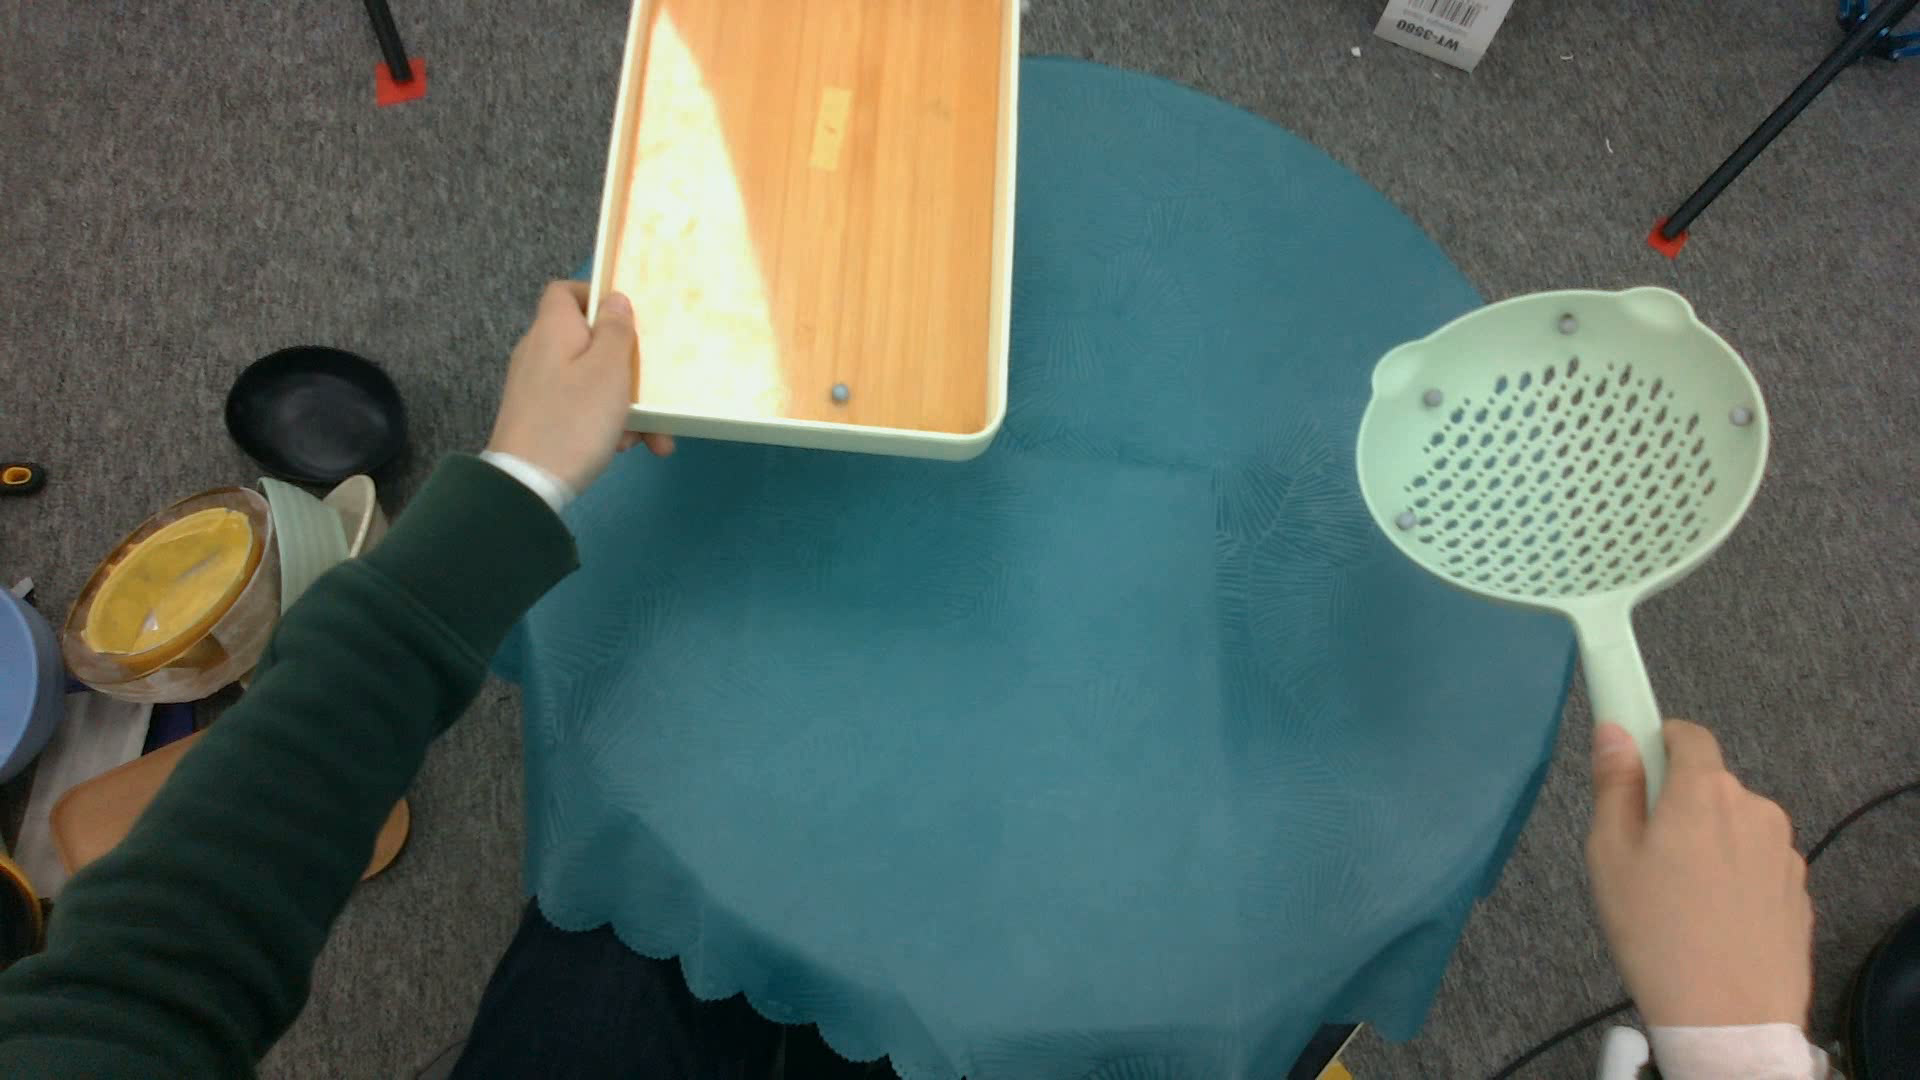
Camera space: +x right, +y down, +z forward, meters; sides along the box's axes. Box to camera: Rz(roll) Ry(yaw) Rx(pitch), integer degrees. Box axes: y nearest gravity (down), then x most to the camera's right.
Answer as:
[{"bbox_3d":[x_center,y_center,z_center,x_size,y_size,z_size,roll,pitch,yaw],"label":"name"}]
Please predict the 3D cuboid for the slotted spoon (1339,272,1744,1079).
[{"bbox_3d":[0.261,0.032,0.577,0.169,0.075,0.360,-13,45,21],"label":"slotted spoon"}]

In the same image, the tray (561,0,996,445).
[{"bbox_3d":[-0.079,-0.193,0.670,0.192,0.027,0.301,5,69,-9],"label":"tray"}]
